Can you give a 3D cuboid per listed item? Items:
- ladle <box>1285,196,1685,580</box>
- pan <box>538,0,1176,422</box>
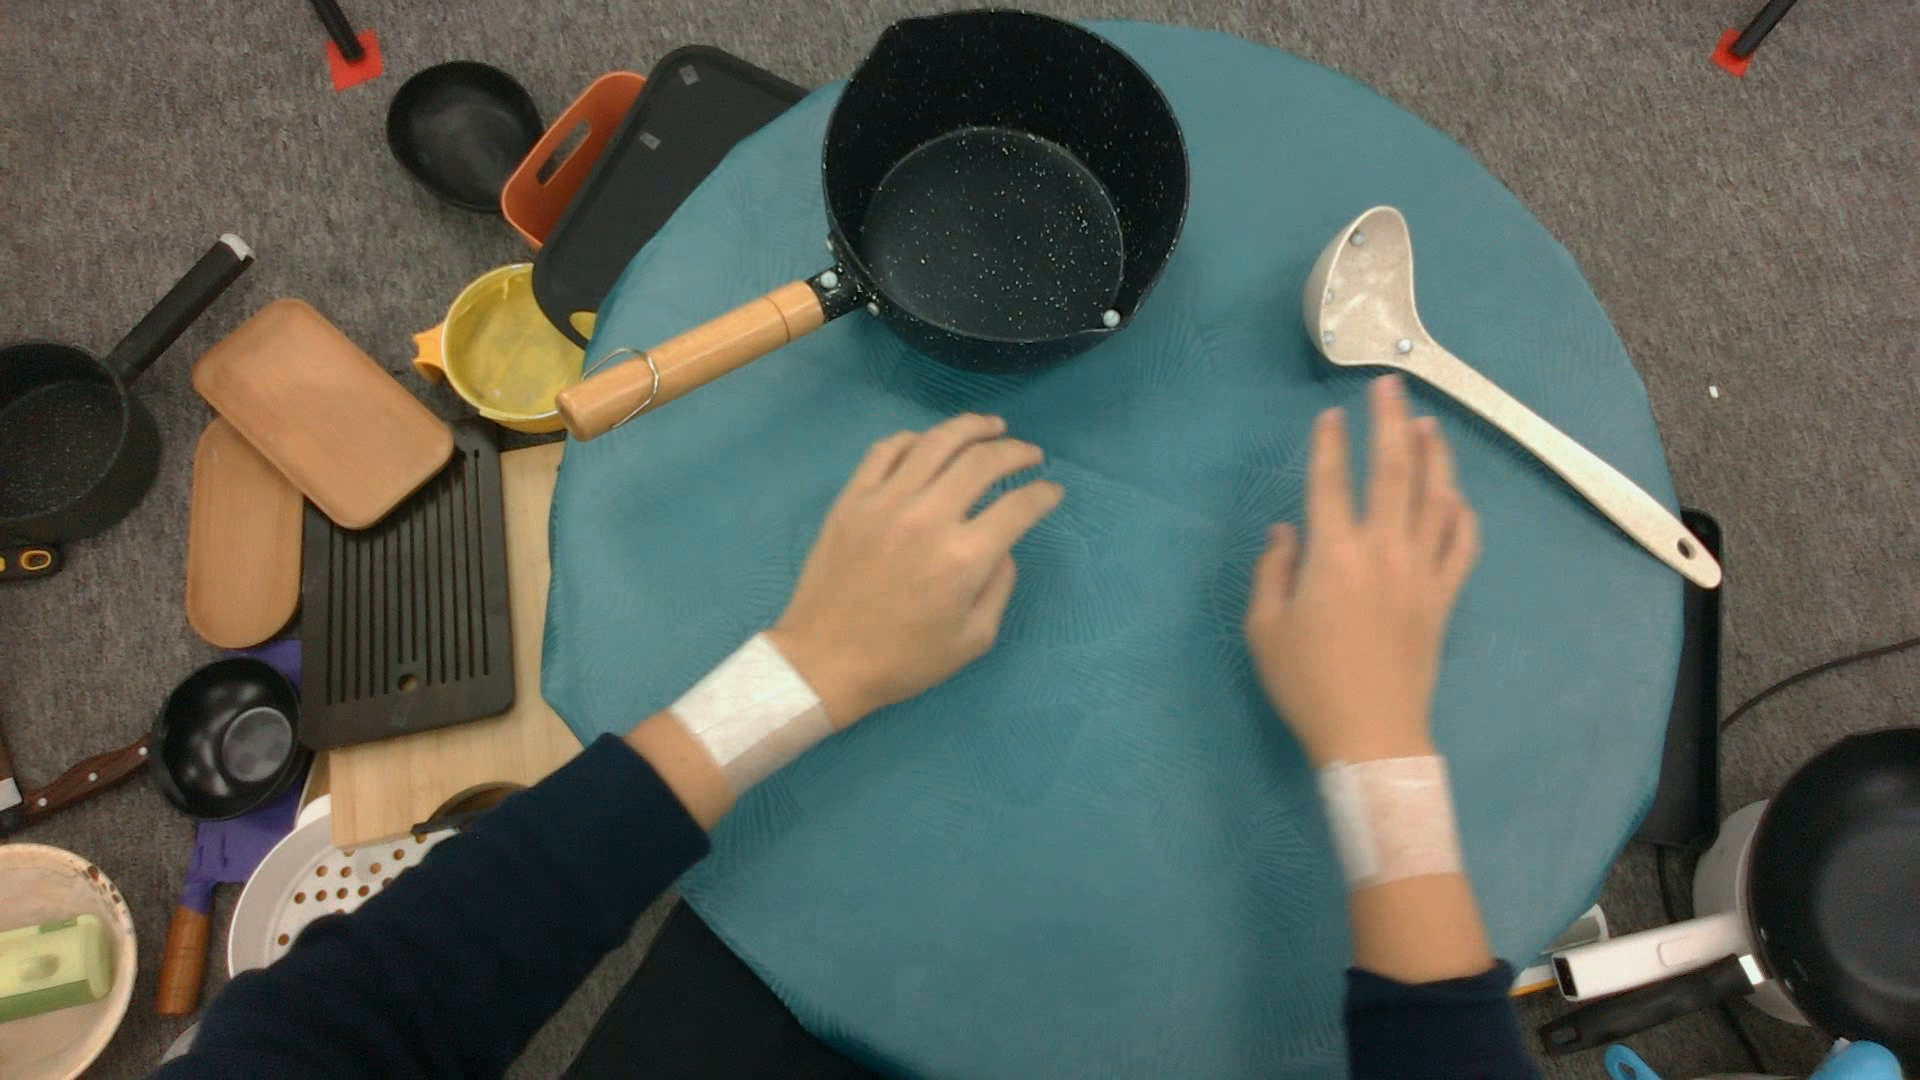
[{"bbox_3d":[0.292,-0.076,0.731,0.275,0.069,0.089,38,66,4],"label":"ladle"},{"bbox_3d":[-0.050,-0.139,0.696,0.343,0.108,0.207,-35,81,-14],"label":"pan"}]
